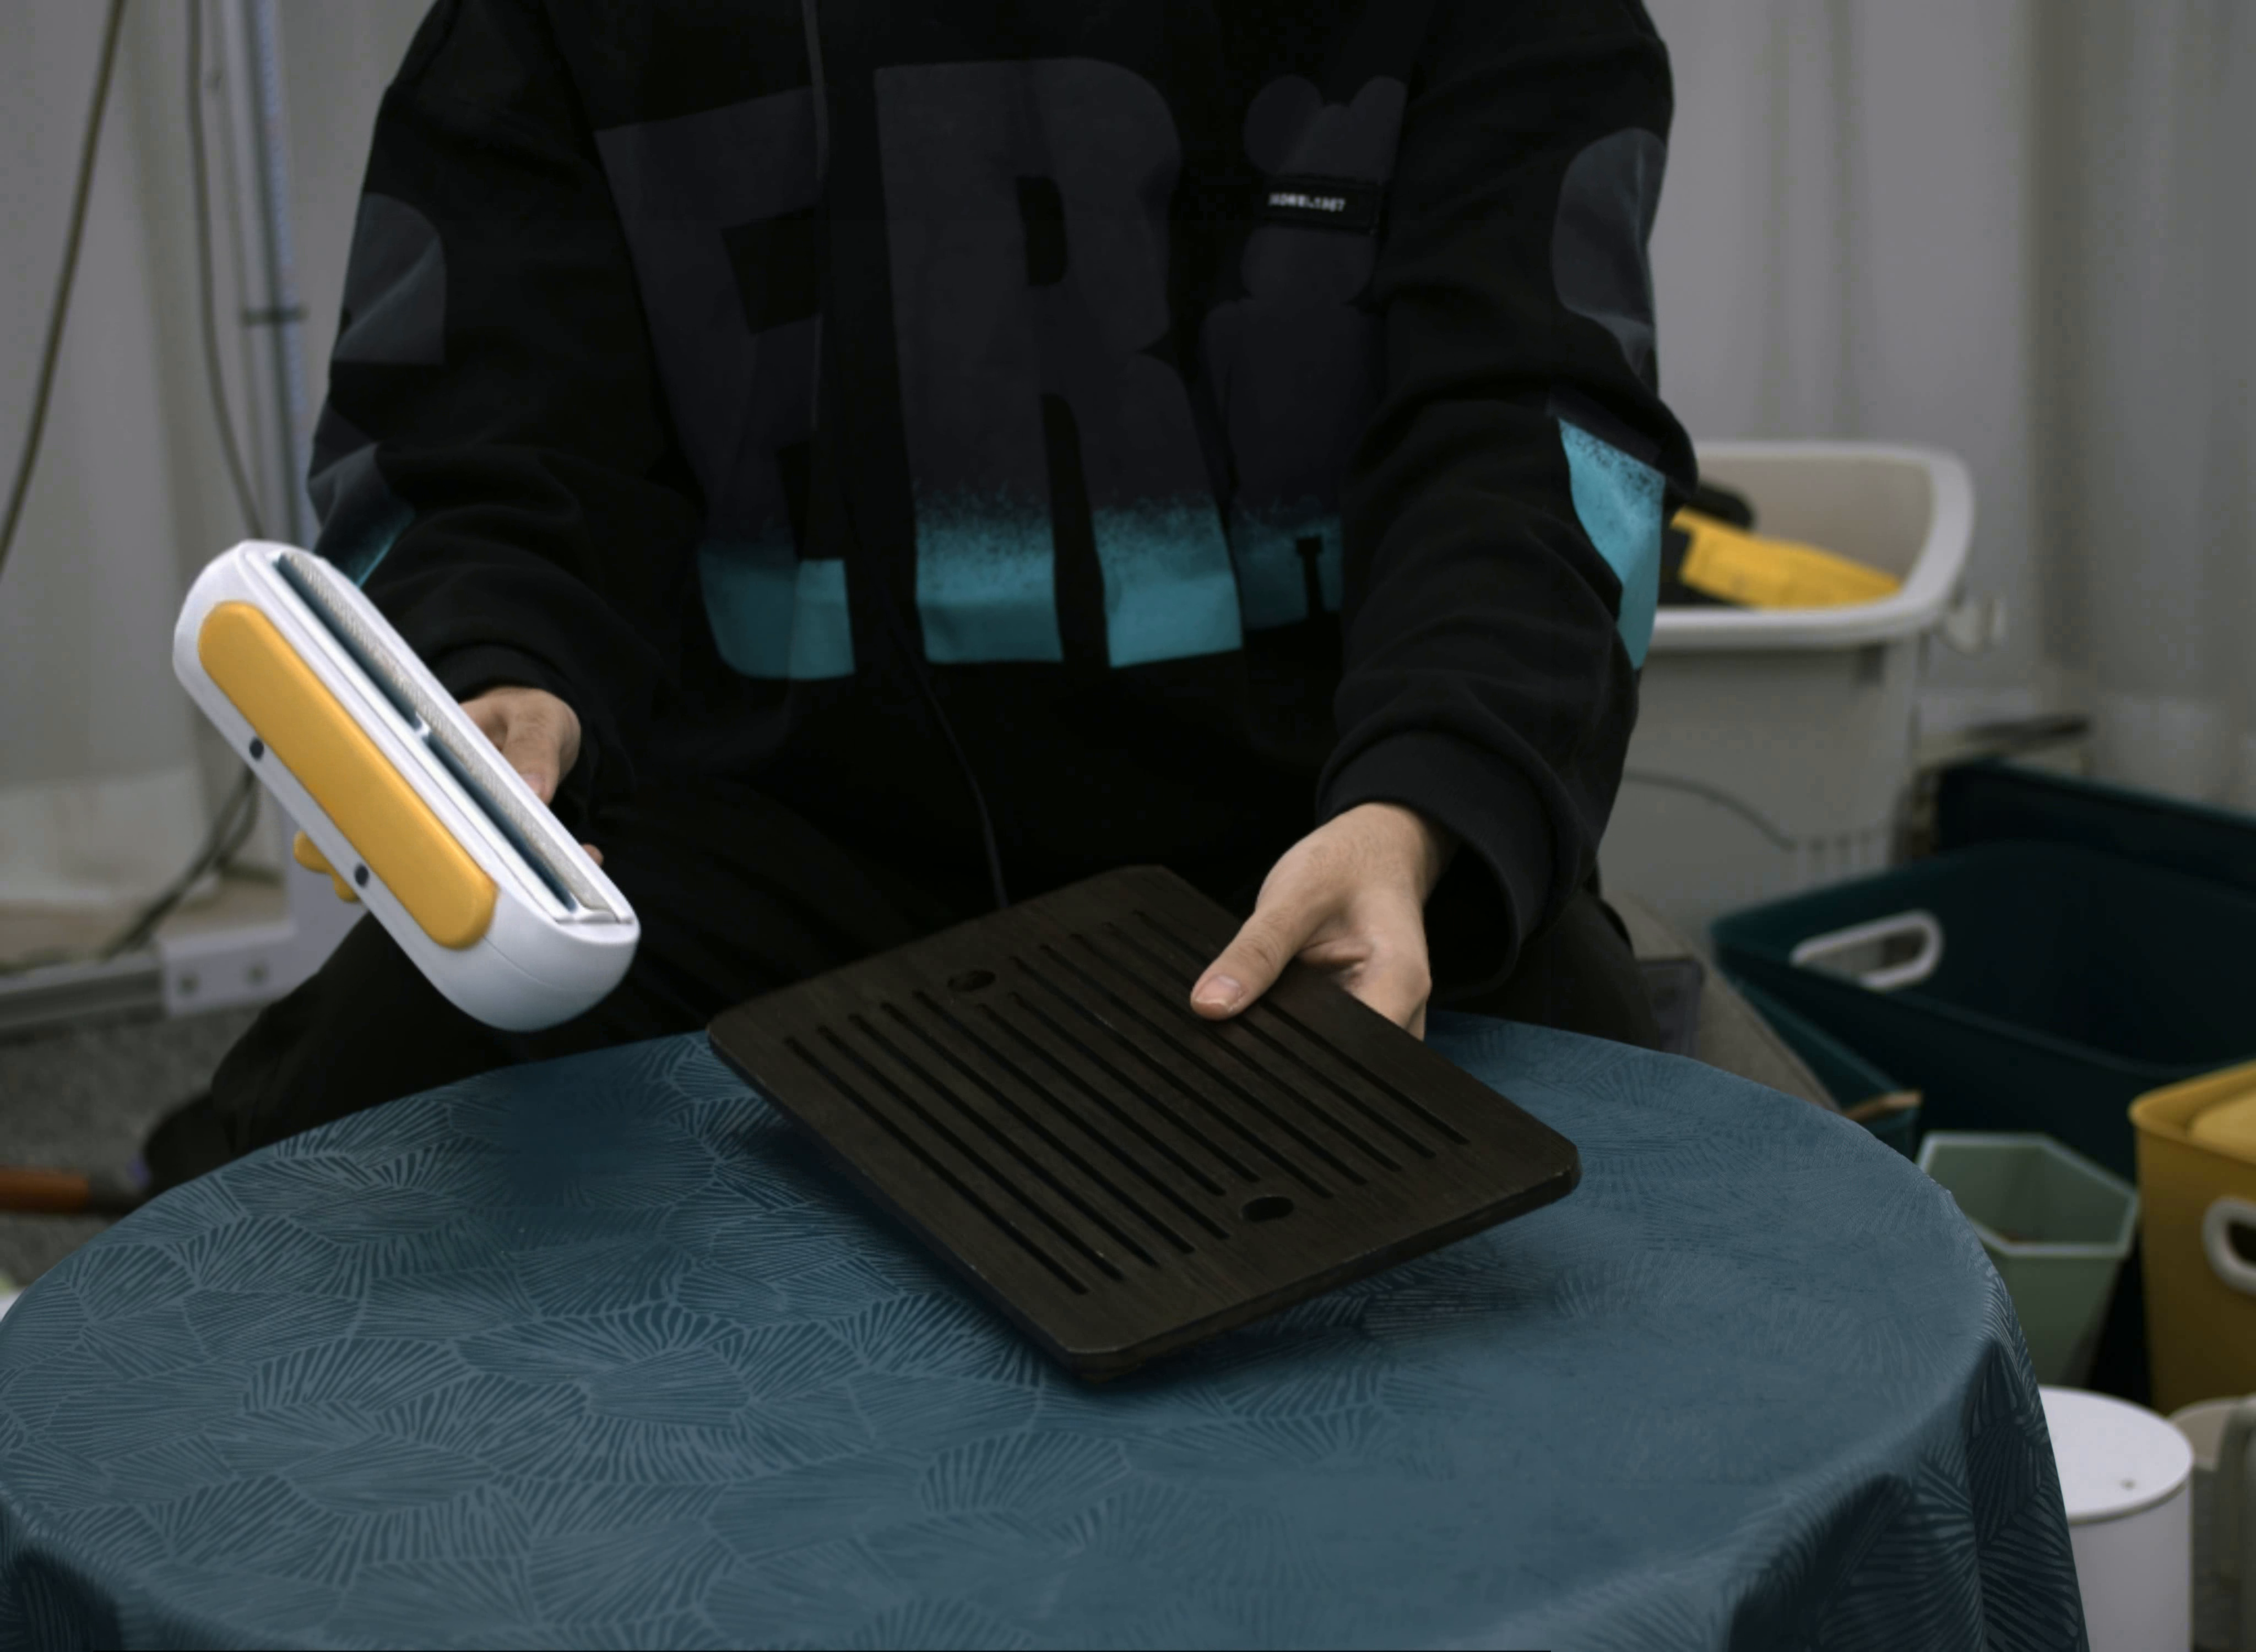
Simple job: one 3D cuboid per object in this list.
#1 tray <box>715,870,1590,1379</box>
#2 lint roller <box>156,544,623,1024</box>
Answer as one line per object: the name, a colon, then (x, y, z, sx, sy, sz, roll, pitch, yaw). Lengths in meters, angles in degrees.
tray: (0.001, 0.088, 1.694, 0.170, 0.018, 0.309, -20, 23, -19)
lint roller: (-0.213, 0.000, 1.780, 0.195, 0.074, 0.191, 43, 10, 26)
